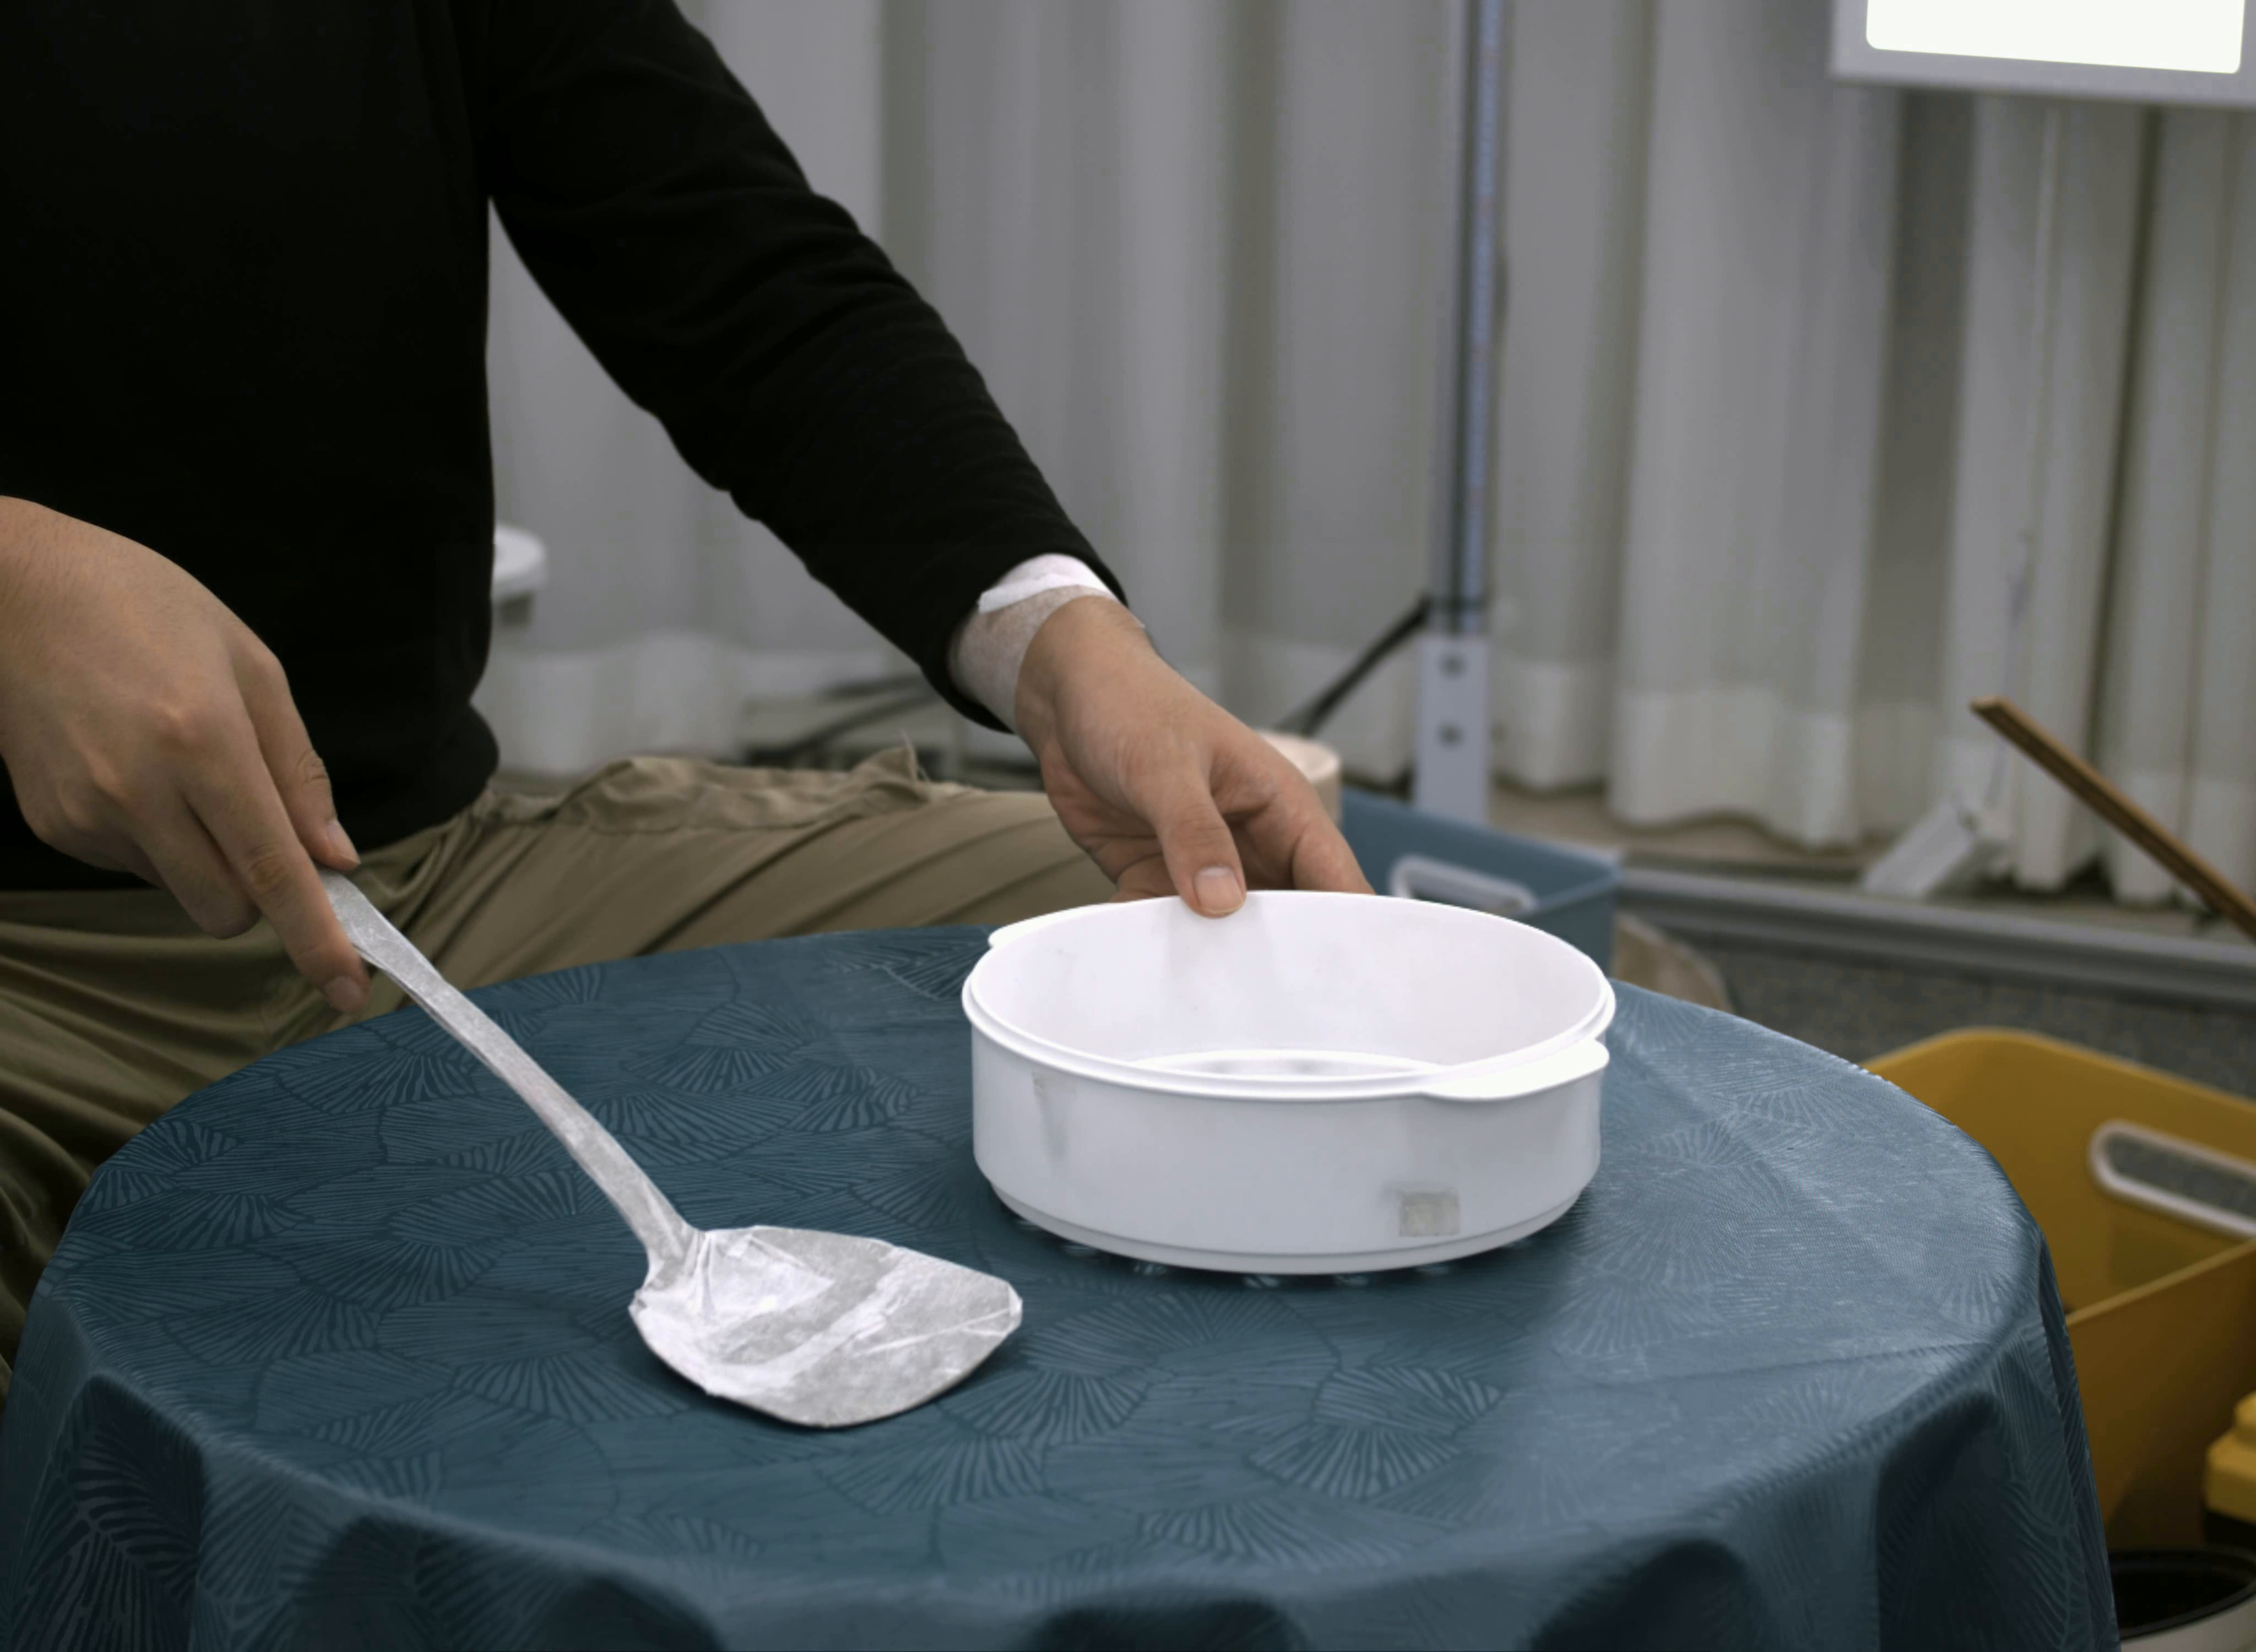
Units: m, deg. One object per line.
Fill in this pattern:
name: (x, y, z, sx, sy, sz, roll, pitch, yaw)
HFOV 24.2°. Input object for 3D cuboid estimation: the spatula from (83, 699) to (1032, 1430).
spatula: (-0.183, 0.059, 1.522, 0.361, 0.045, 0.099, 40, 41, 18)

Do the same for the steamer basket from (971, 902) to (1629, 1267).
steamer basket: (0.052, 0.079, 1.613, 0.203, 0.070, 0.227, -12, 18, -41)
